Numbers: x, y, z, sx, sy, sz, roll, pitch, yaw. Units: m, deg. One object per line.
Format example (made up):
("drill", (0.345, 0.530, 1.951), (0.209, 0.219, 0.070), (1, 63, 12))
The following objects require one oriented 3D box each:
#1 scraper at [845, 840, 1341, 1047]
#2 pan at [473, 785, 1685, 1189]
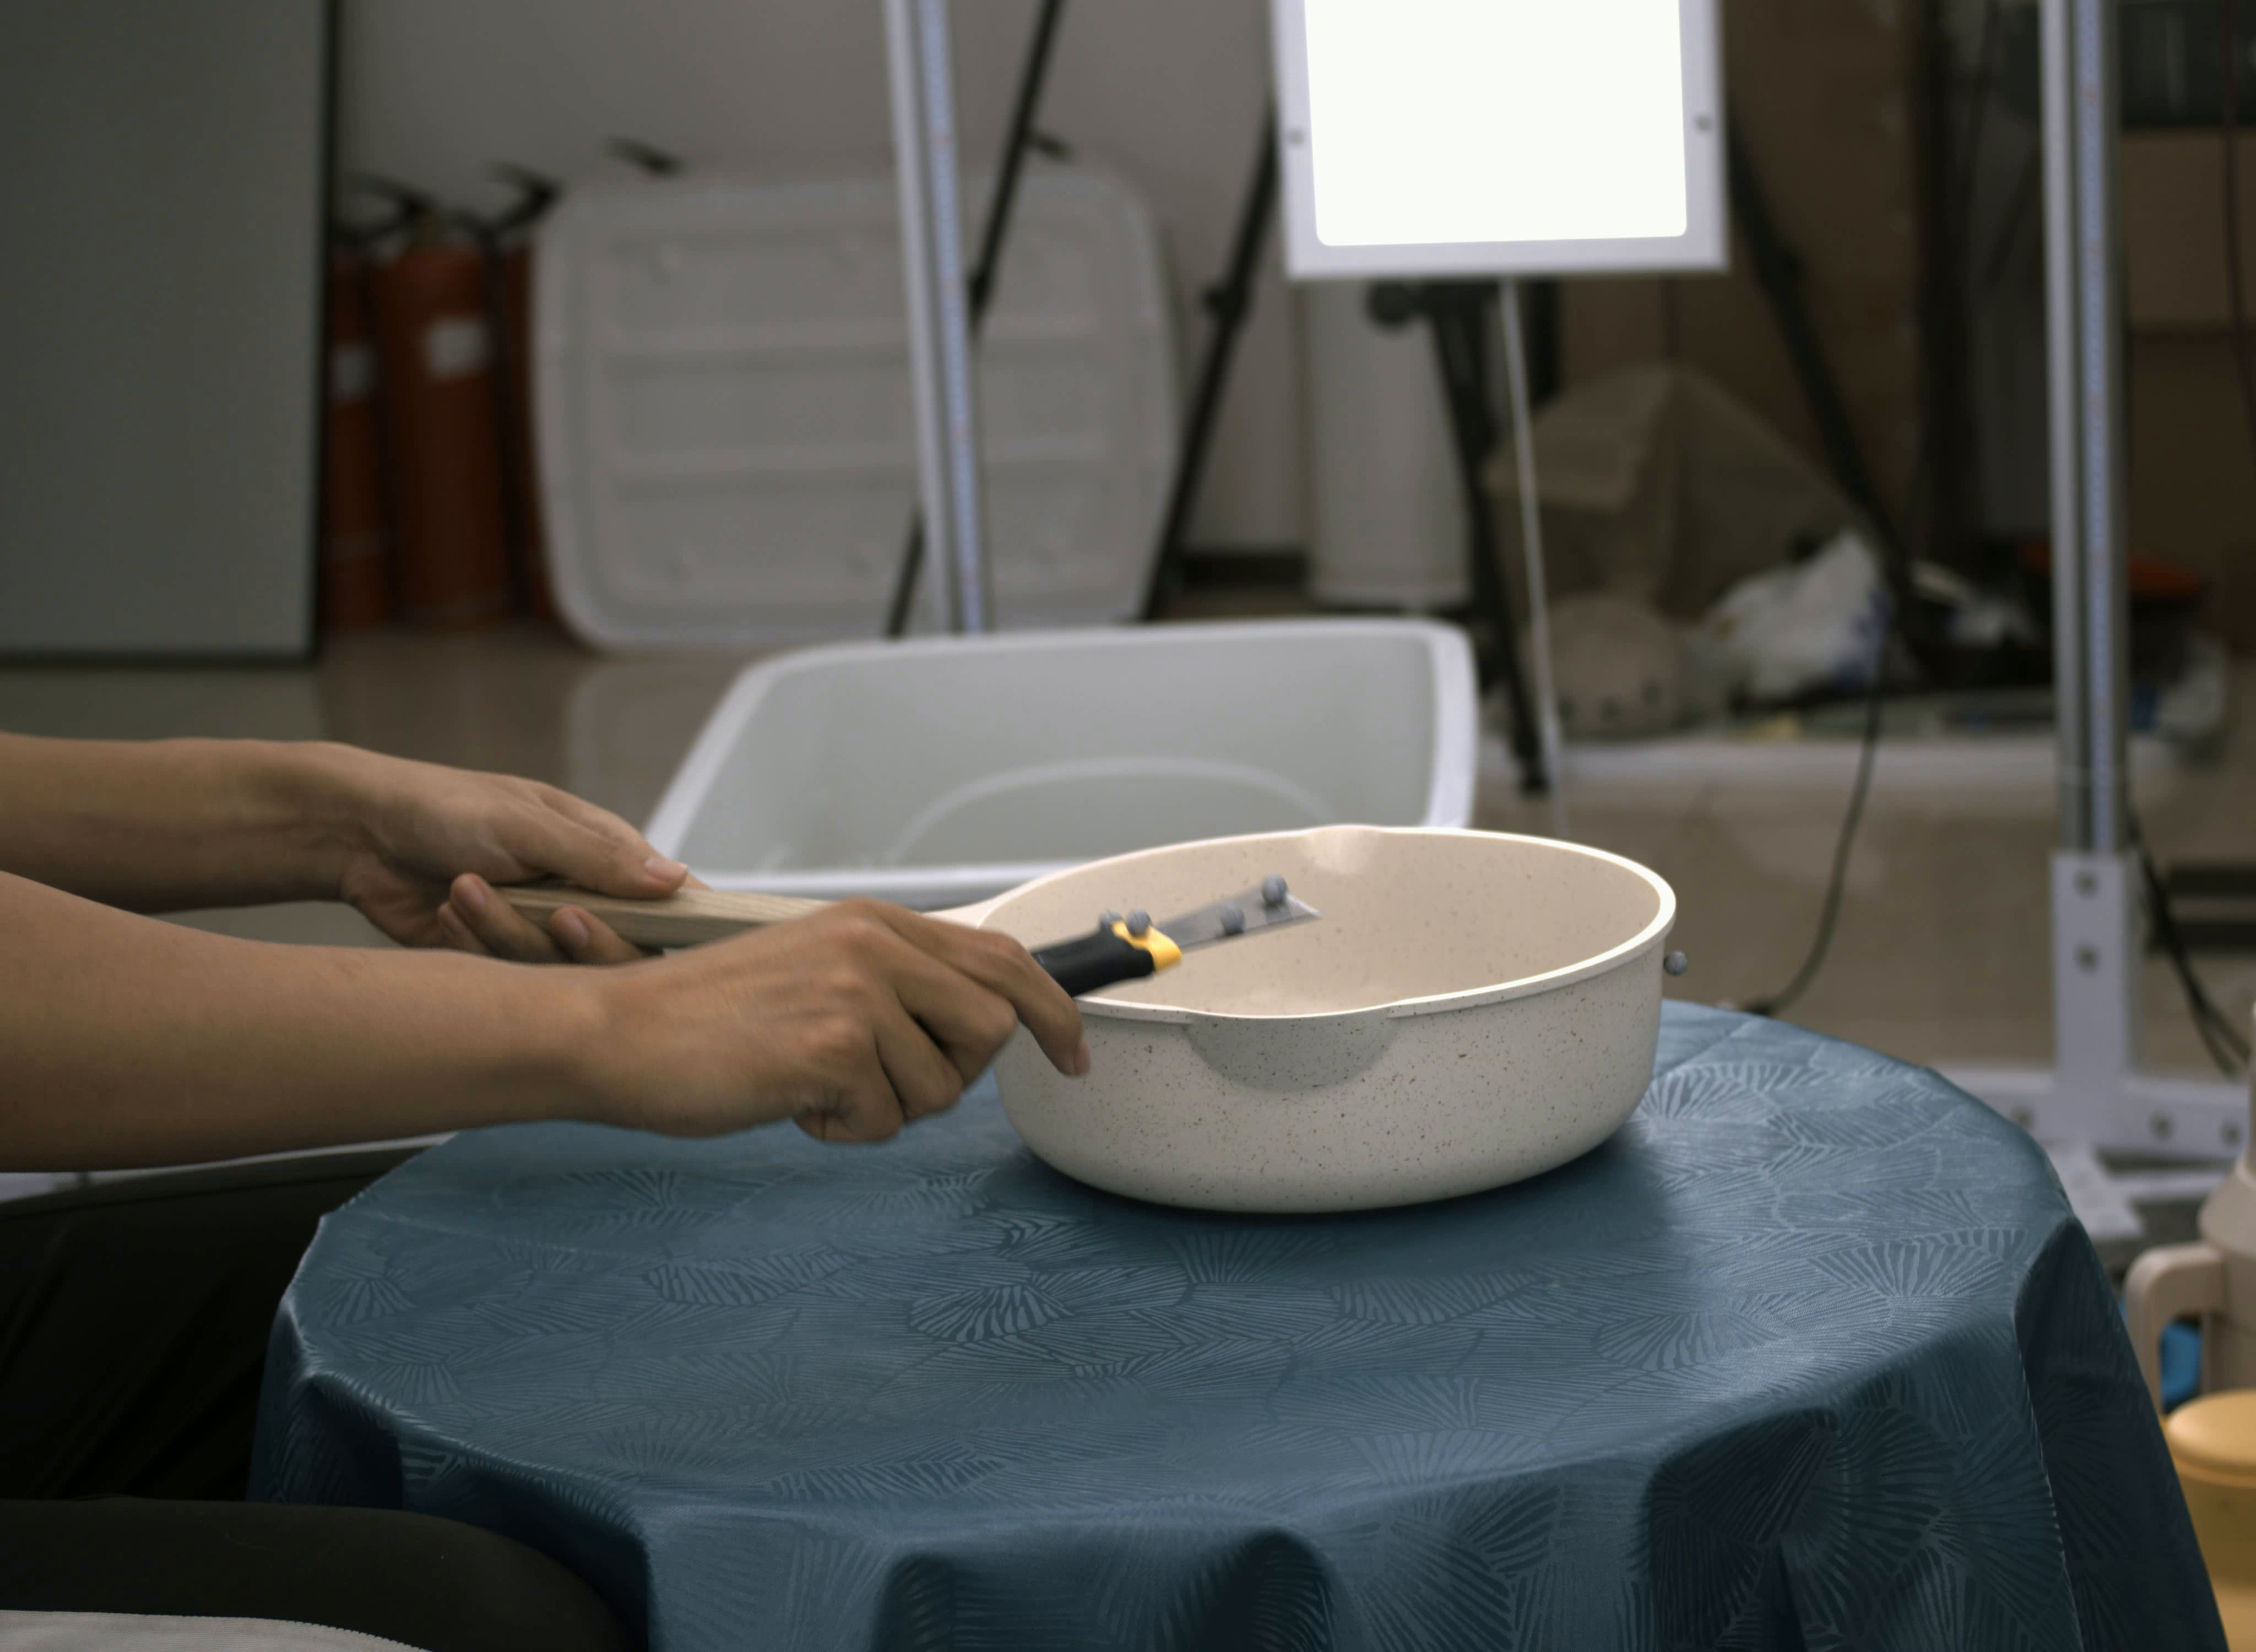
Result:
("scraper", (-0.012, 0.037, 1.727), (0.167, 0.015, 0.039), (-18, 30, -23))
("pan", (-0.016, 0.056, 1.969), (0.437, 0.102, 0.261), (-3, 16, 9))
